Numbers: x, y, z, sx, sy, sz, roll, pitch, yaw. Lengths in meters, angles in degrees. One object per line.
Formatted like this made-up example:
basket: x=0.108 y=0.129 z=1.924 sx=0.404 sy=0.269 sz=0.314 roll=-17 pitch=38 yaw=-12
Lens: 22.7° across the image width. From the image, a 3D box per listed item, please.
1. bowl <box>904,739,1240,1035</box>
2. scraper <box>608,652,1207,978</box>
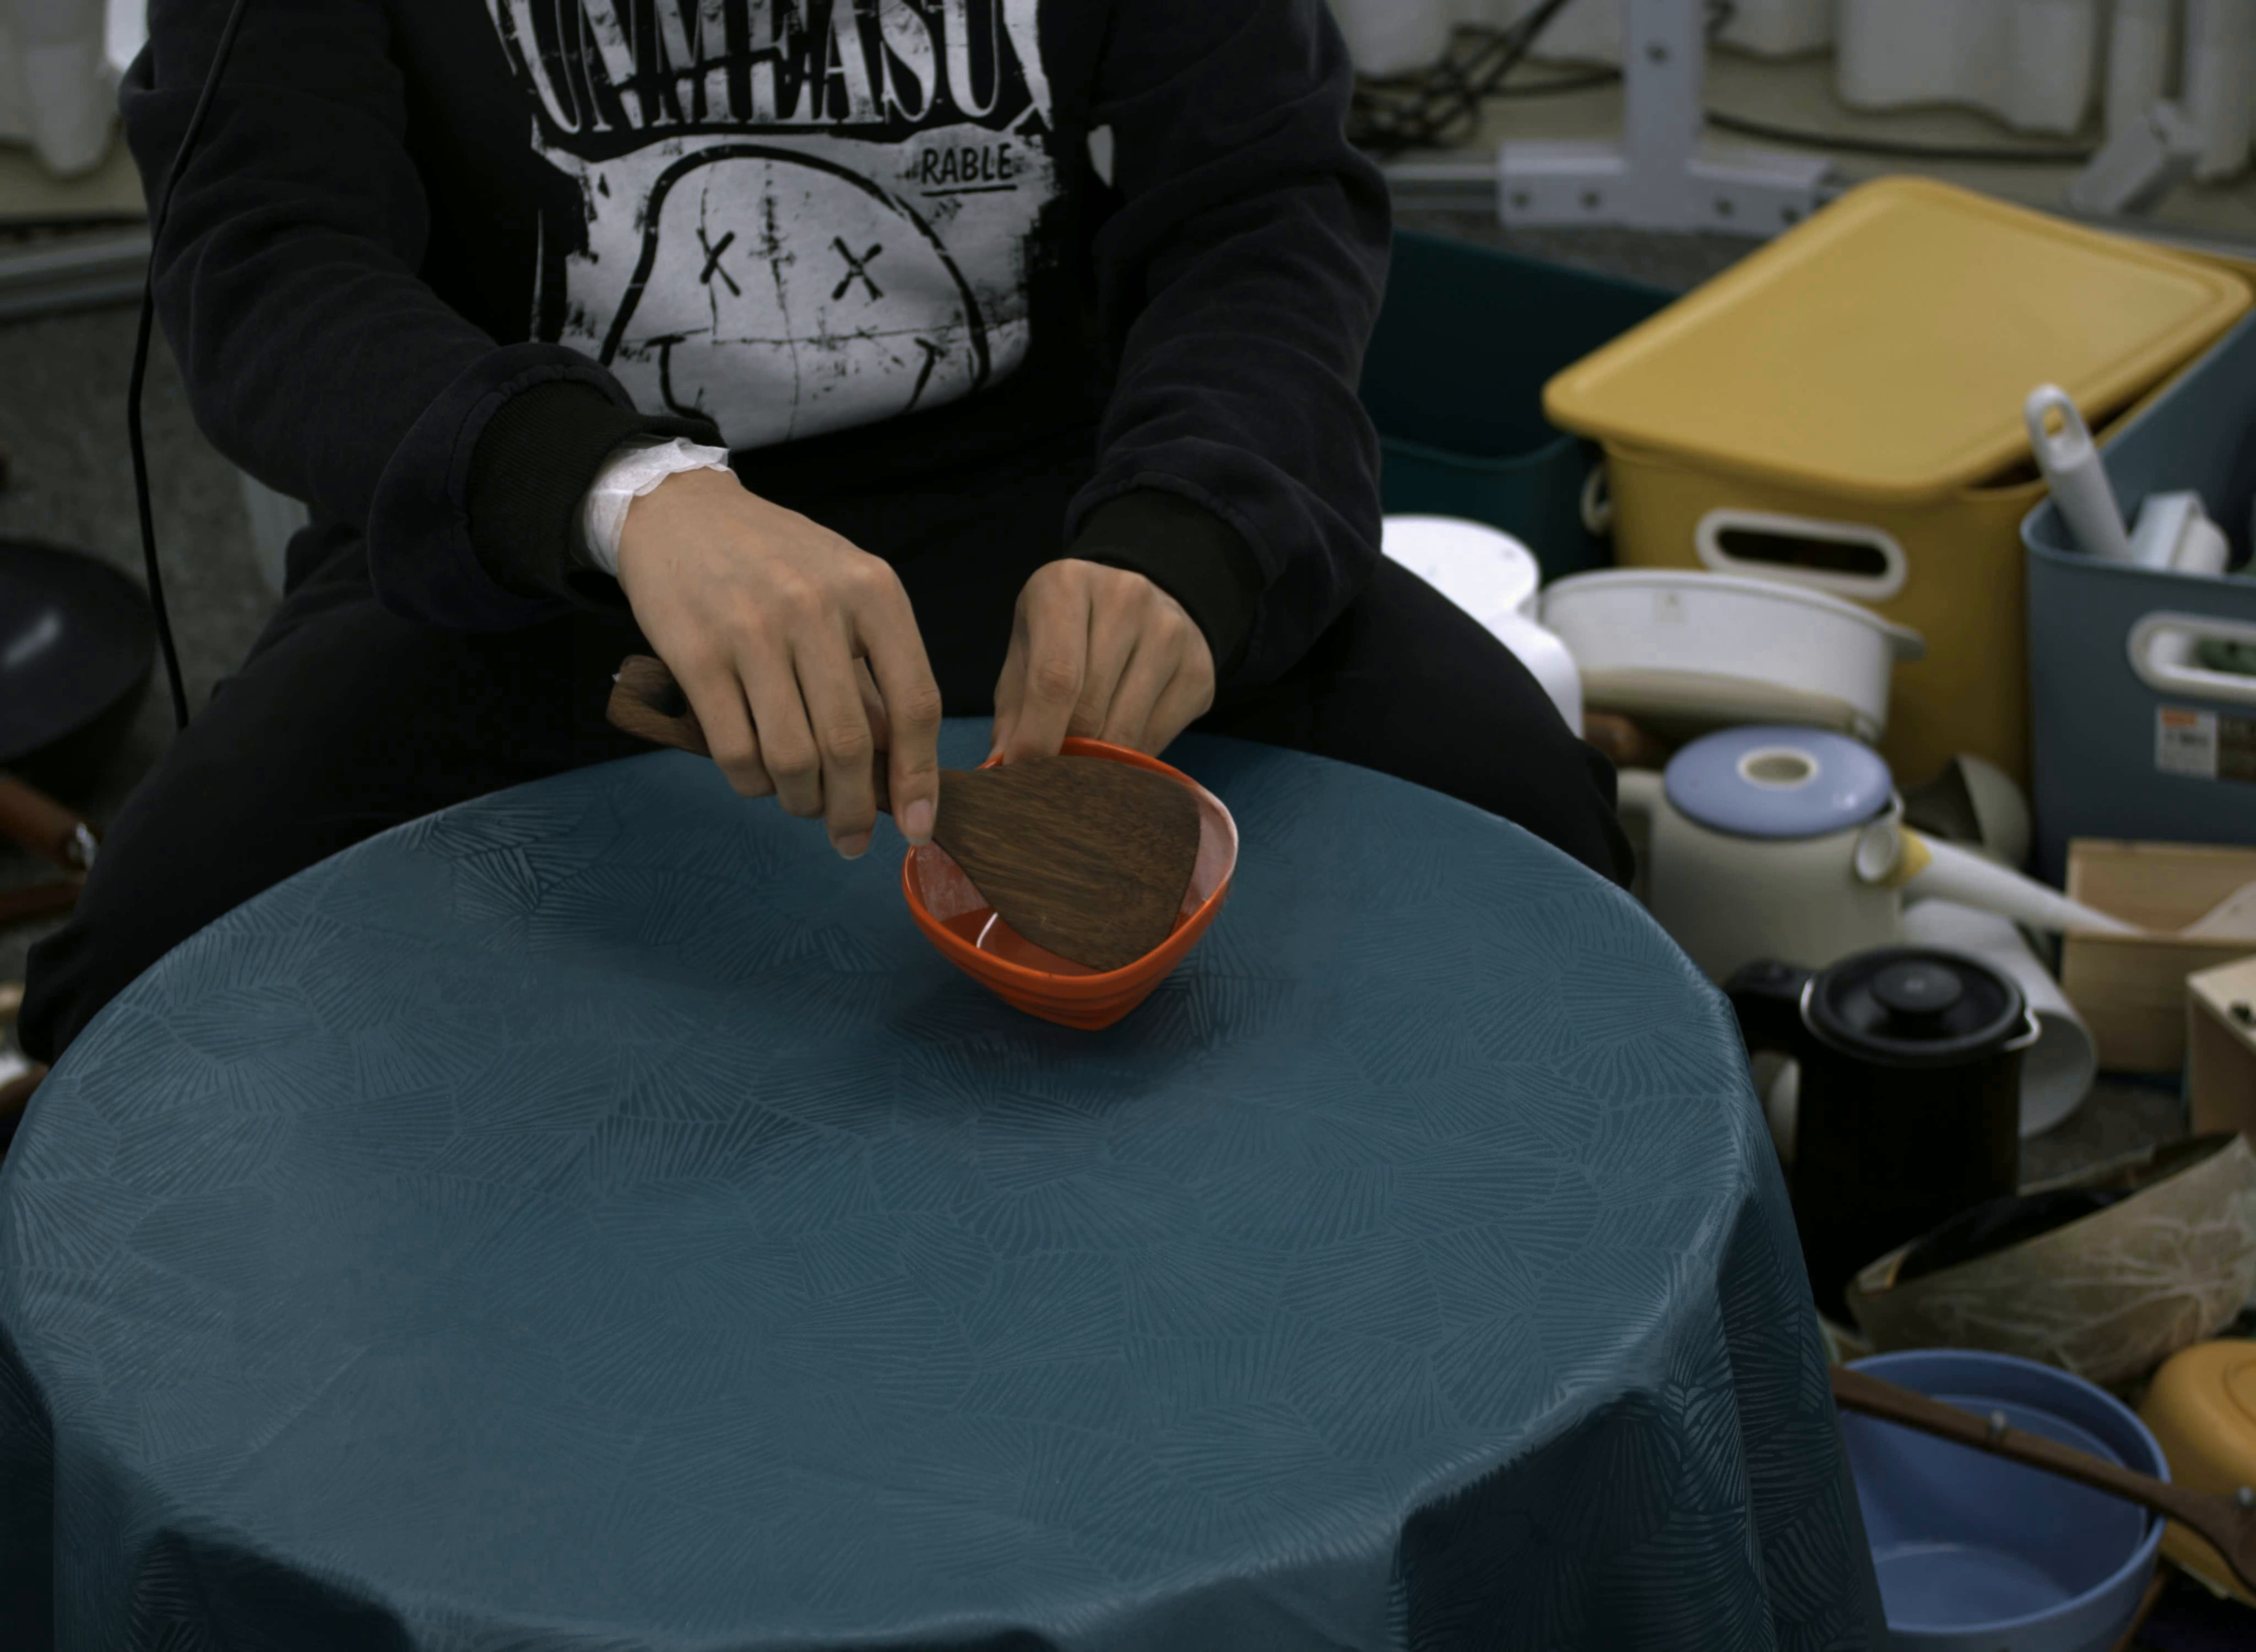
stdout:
bowl: x=-0.018 y=0.028 z=1.970 sx=0.118 sy=0.050 sz=0.121 roll=-2 pitch=46 yaw=3
scraper: x=-0.077 y=-0.013 z=1.933 sx=0.210 sy=0.077 sz=0.011 roll=20 pitch=-15 yaw=-5
